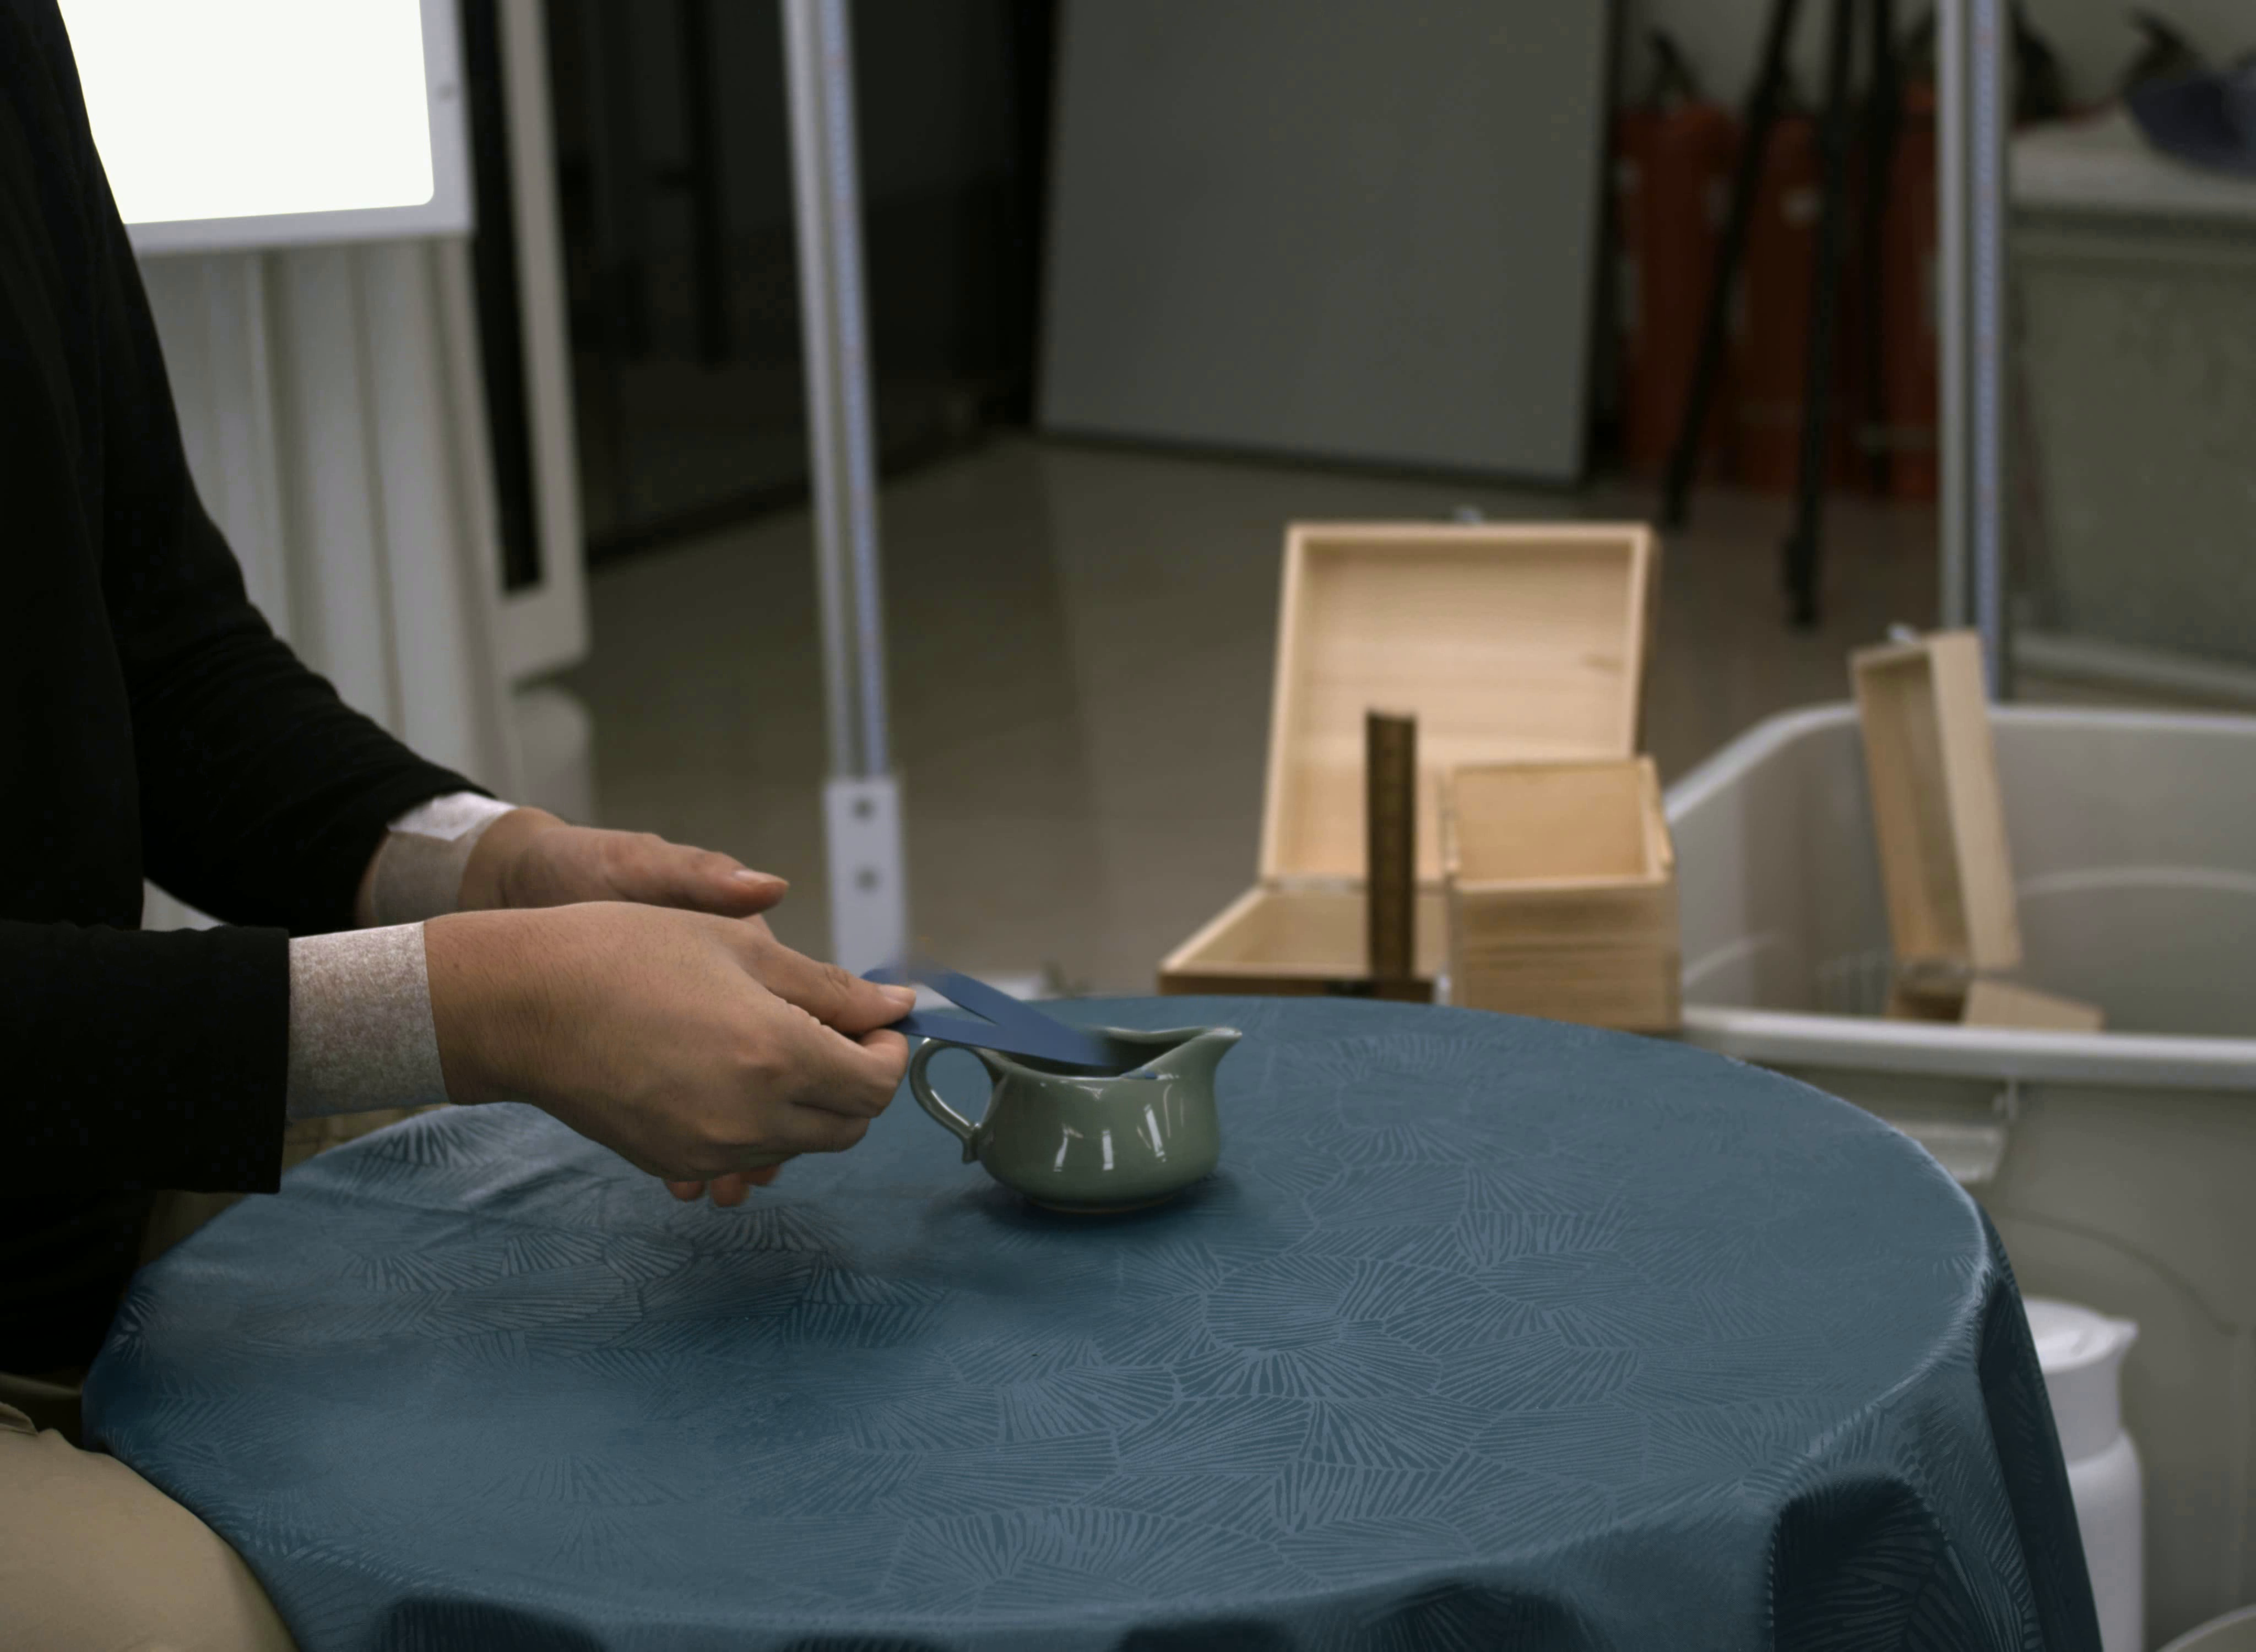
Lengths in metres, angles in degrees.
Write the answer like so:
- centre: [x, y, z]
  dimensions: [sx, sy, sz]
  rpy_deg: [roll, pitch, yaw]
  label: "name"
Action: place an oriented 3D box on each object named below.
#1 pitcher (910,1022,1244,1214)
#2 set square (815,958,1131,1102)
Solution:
- centre: [-0.016, 0.094, 1.768]
  dimensions: [0.111, 0.057, 0.084]
  rpy_deg: [-2, 11, 9]
  label: "pitcher"
- centre: [-0.054, 0.067, 1.694]
  dimensions: [0.060, 0.006, 0.133]
  rpy_deg: [-11, 23, -30]
  label: "set square"
